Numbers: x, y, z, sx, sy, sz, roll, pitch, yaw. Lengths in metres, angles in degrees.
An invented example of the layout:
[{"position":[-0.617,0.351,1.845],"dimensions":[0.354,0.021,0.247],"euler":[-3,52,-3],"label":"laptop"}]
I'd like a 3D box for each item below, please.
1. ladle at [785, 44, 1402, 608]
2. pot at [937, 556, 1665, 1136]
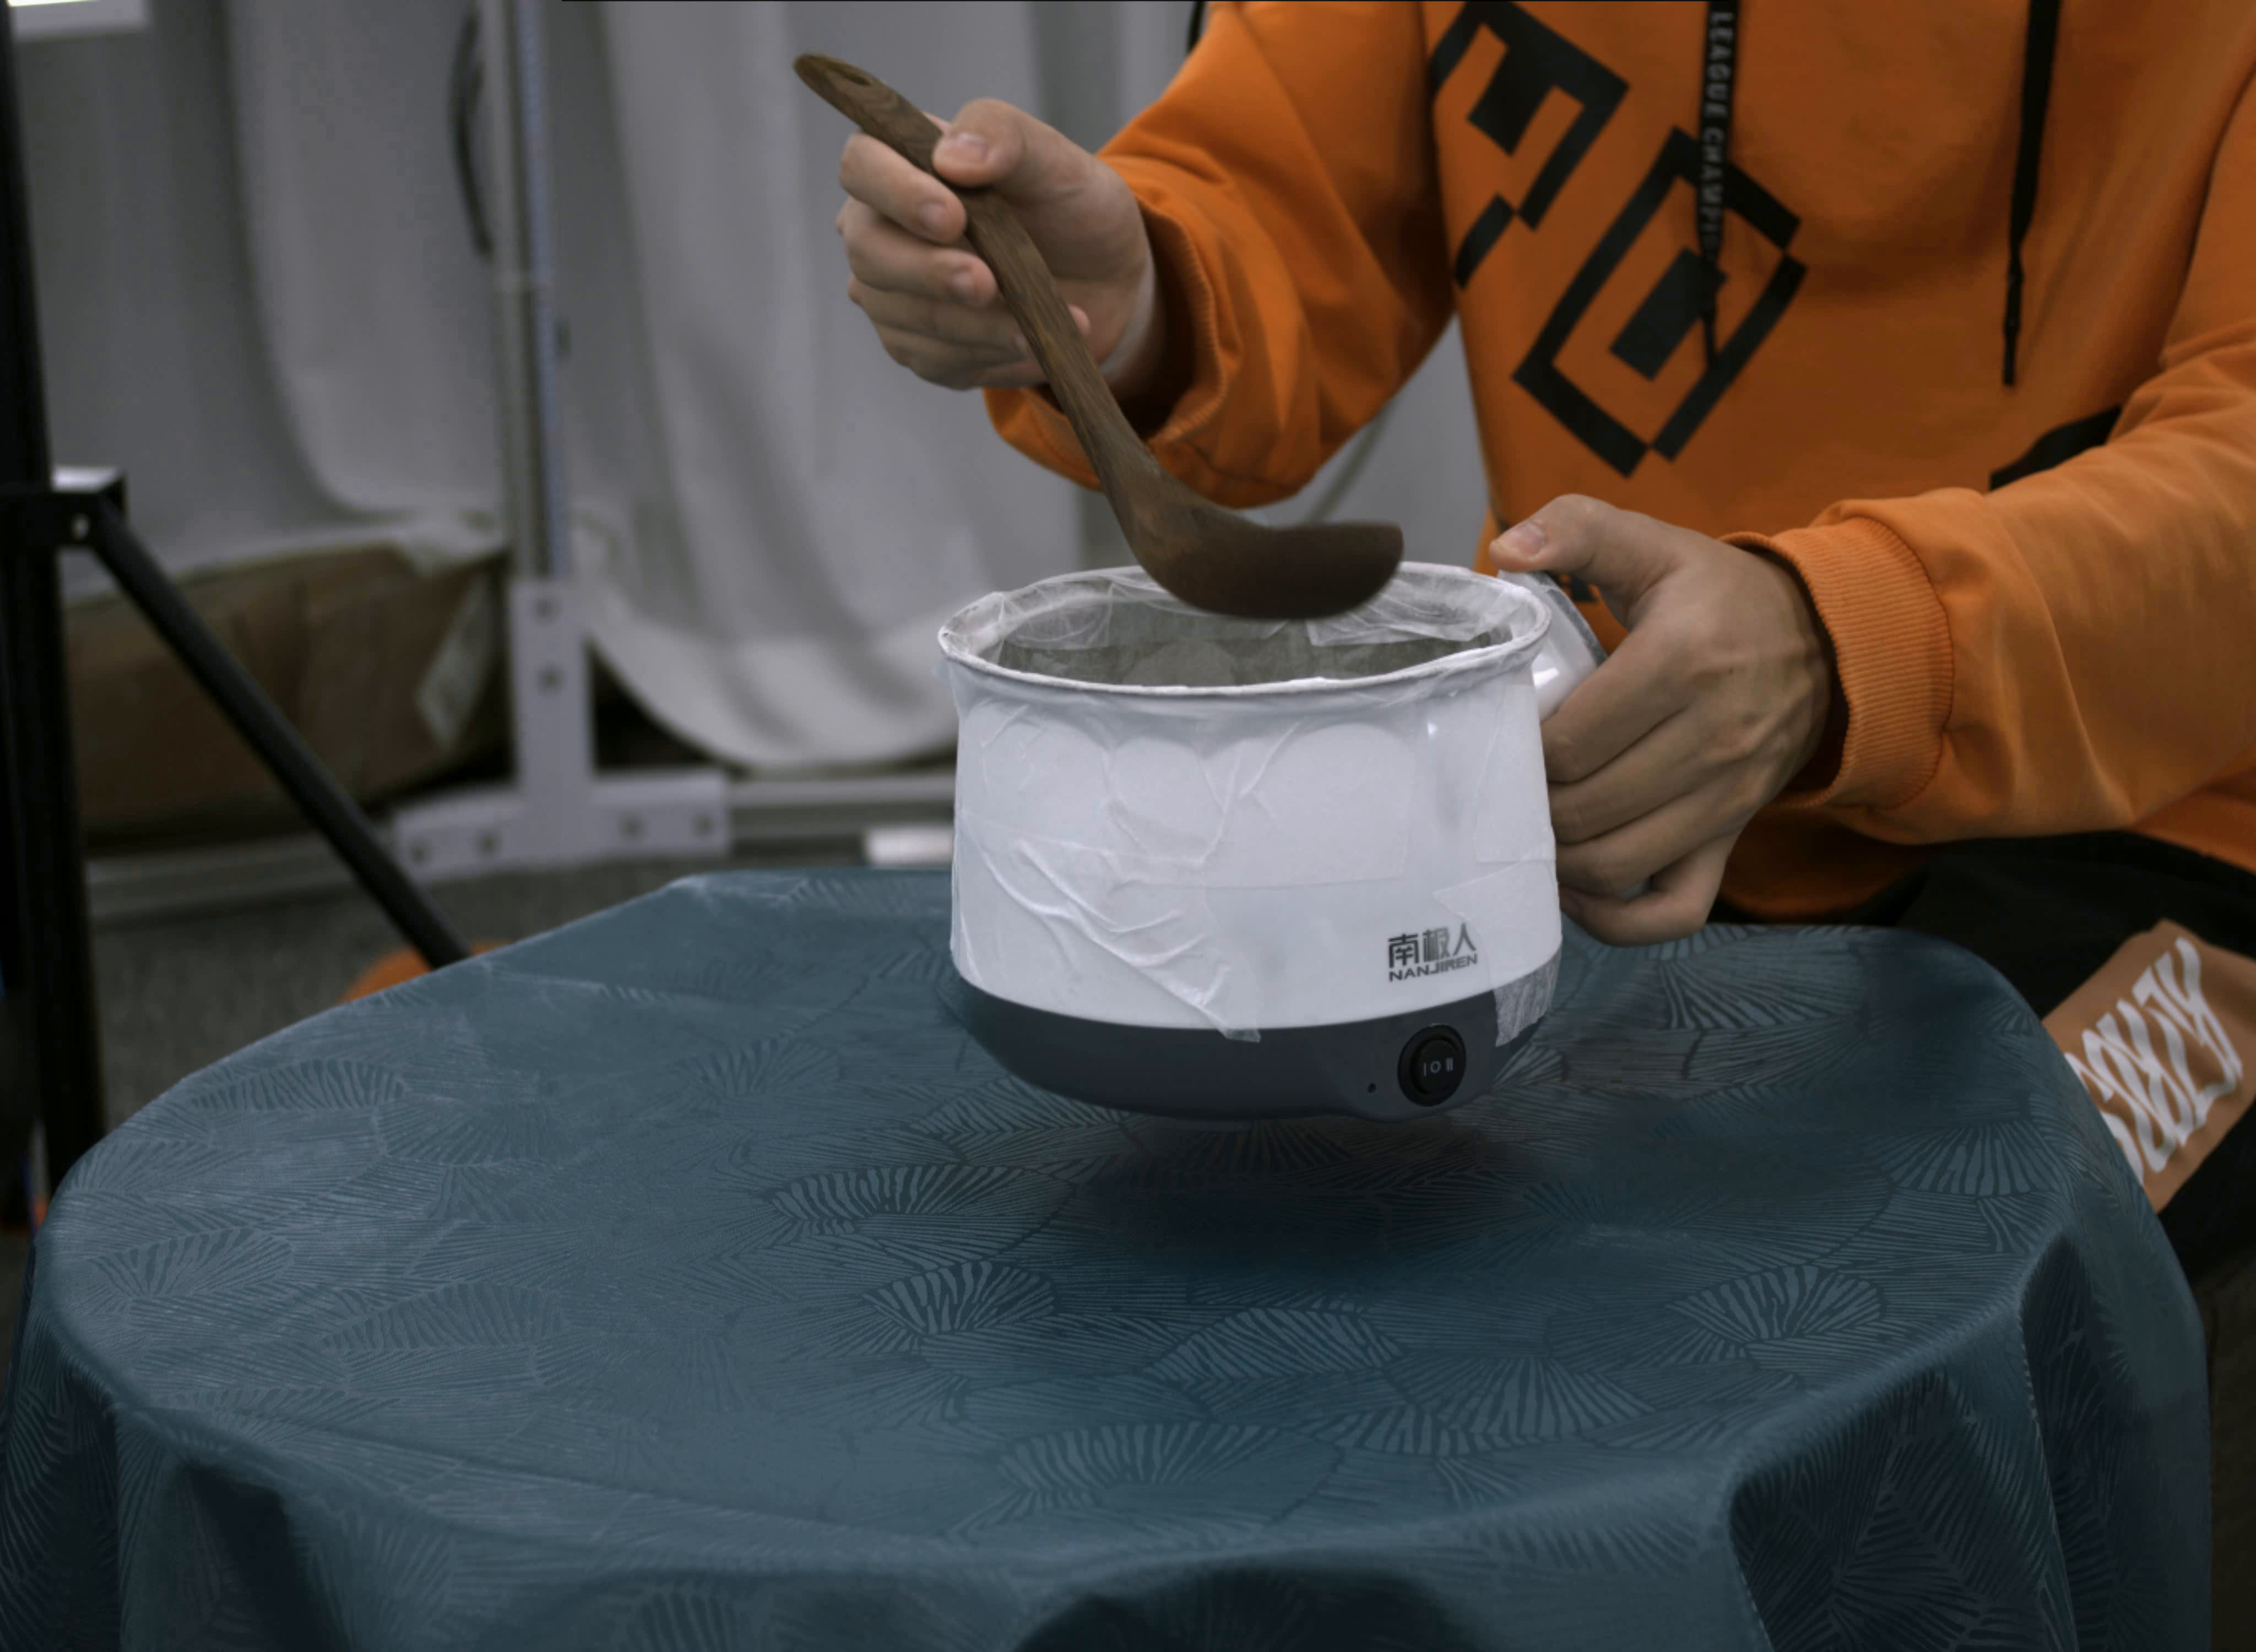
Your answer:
[{"position":[-0.014,-0.163,1.586],"dimensions":[0.074,0.072,0.279],"euler":[4,44,-48],"label":"ladle"},{"position":[0.058,-0.001,1.548],"dimensions":[0.228,0.136,0.183],"euler":[-11,17,-32],"label":"pot"}]
